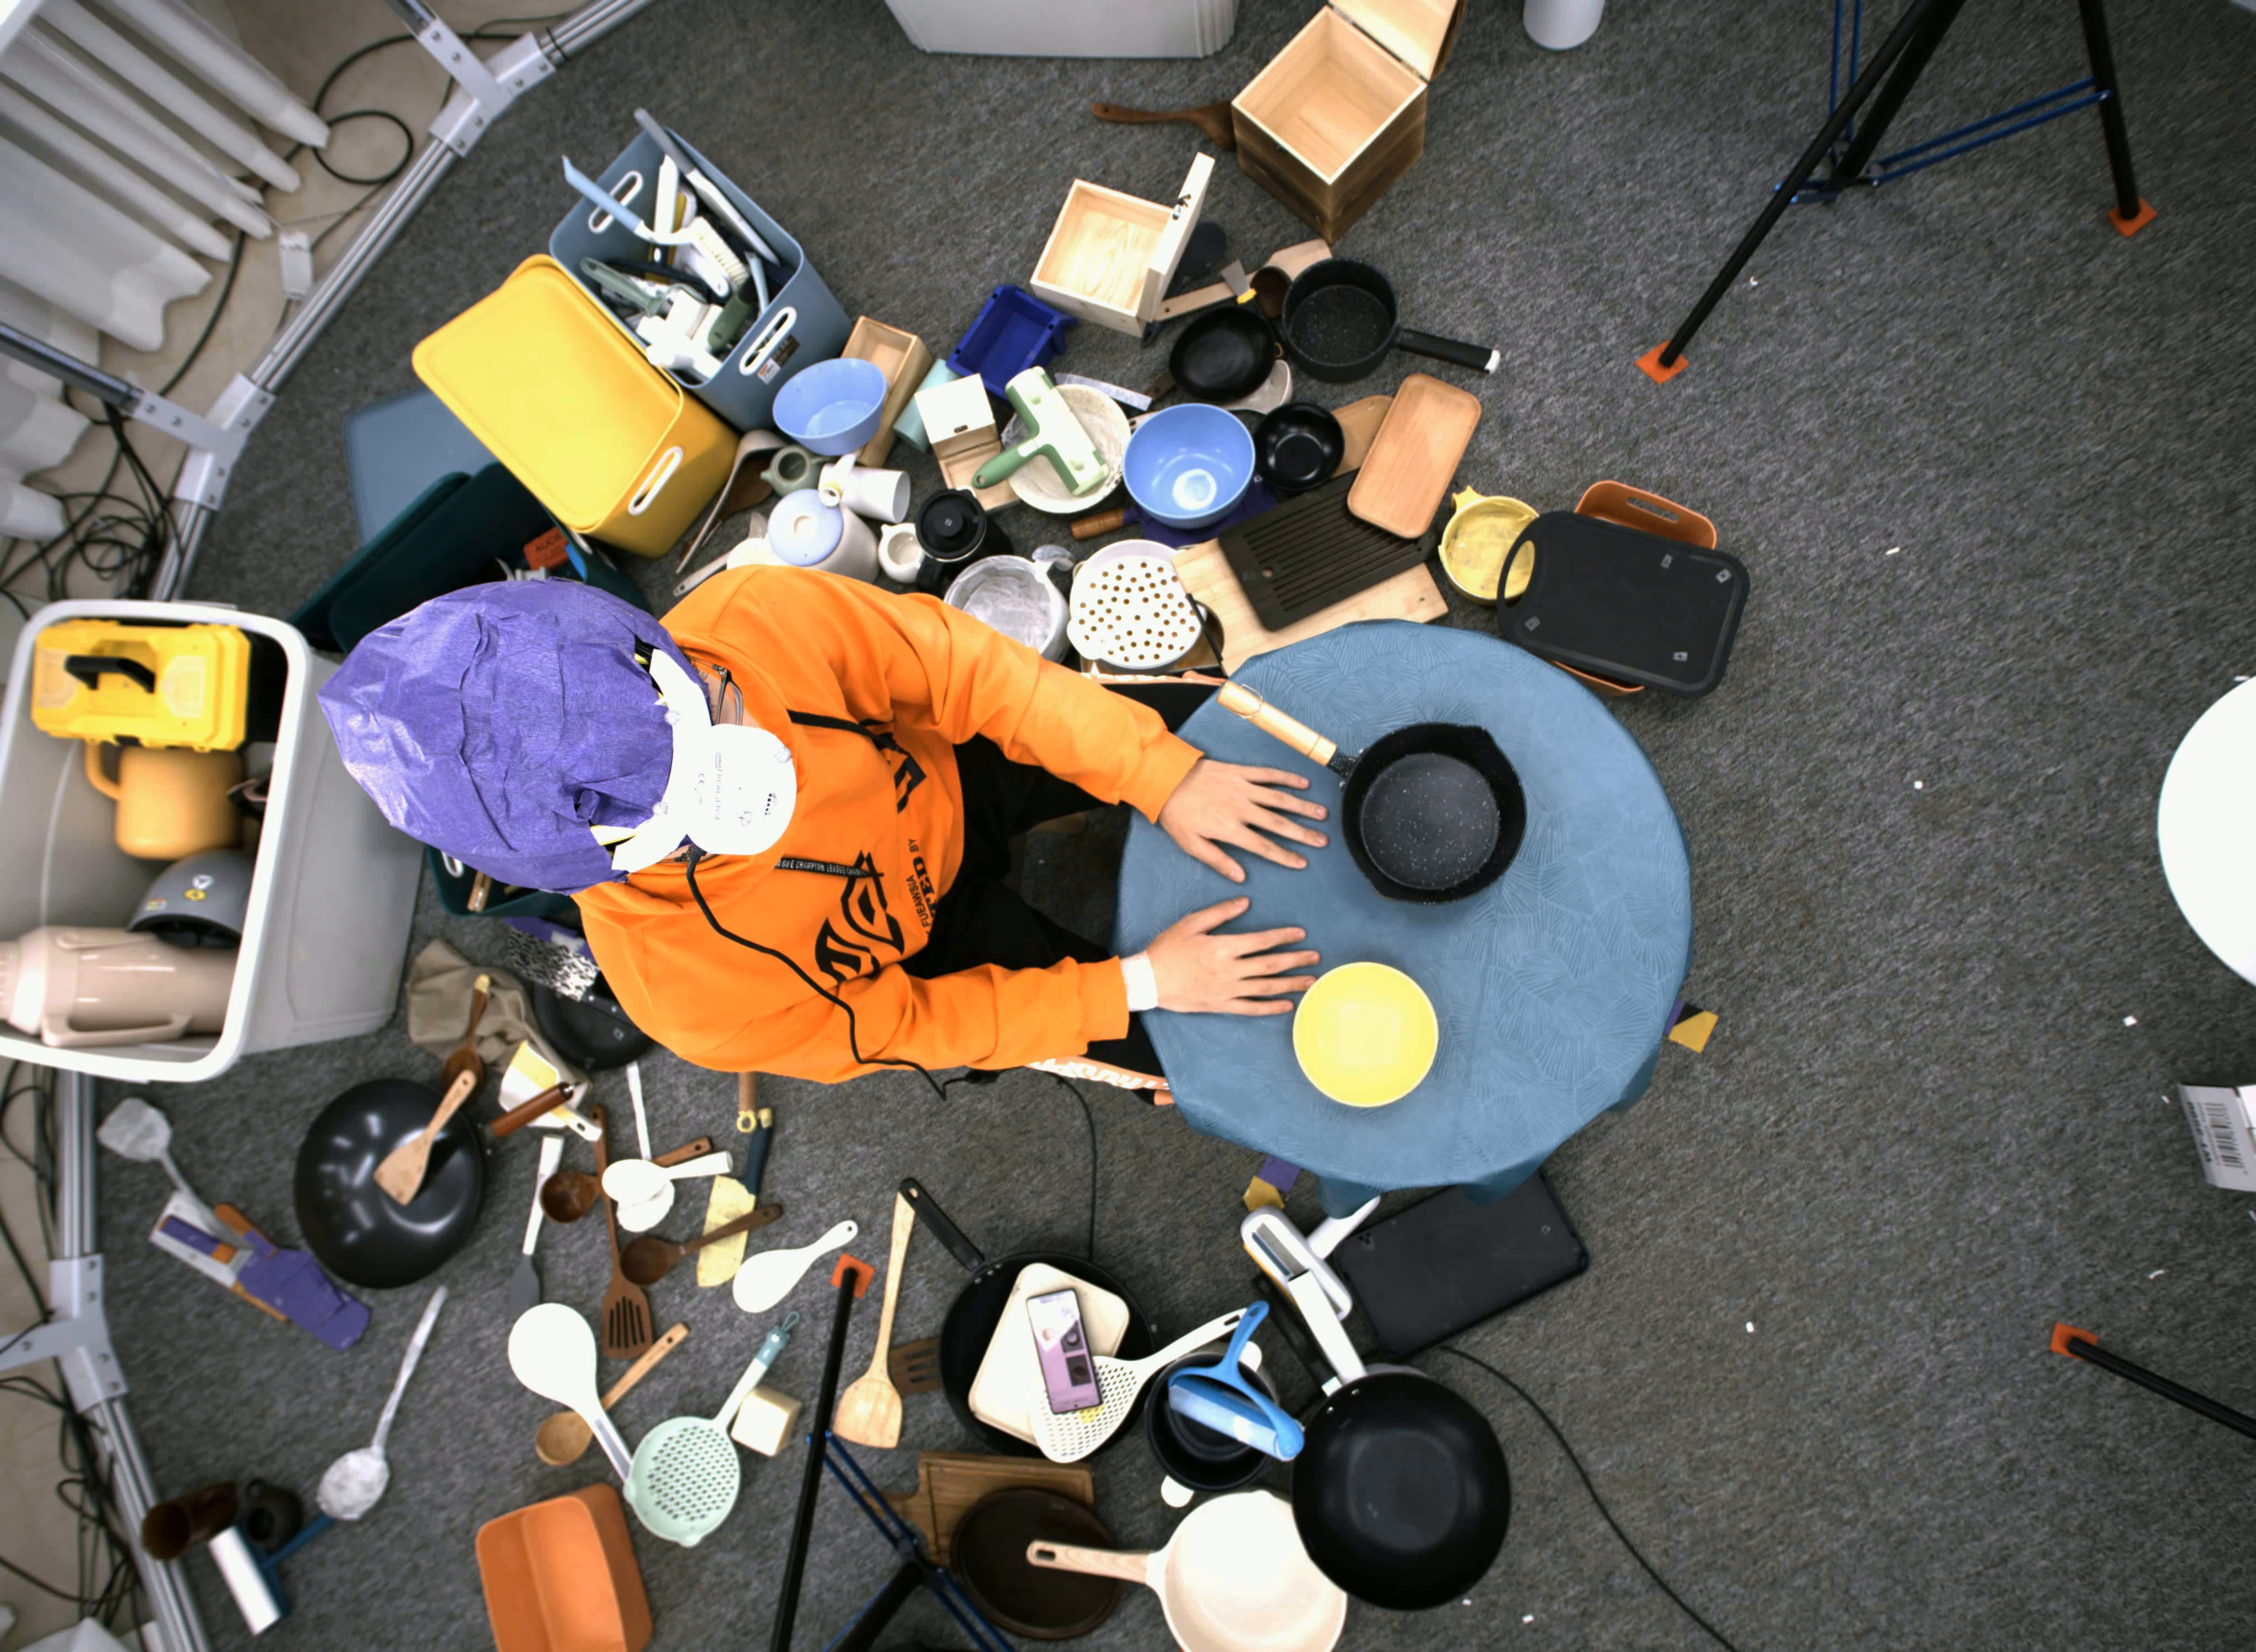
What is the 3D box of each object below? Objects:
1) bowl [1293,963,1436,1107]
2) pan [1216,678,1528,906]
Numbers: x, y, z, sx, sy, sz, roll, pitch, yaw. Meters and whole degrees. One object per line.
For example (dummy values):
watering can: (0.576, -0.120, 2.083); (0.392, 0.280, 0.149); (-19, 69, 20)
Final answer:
bowl: (0.243, 0.213, 1.427); (0.146, 0.060, 0.144); (-1, 85, 10)
pan: (0.242, -0.051, 1.417); (0.342, 0.108, 0.208); (30, 93, 9)
